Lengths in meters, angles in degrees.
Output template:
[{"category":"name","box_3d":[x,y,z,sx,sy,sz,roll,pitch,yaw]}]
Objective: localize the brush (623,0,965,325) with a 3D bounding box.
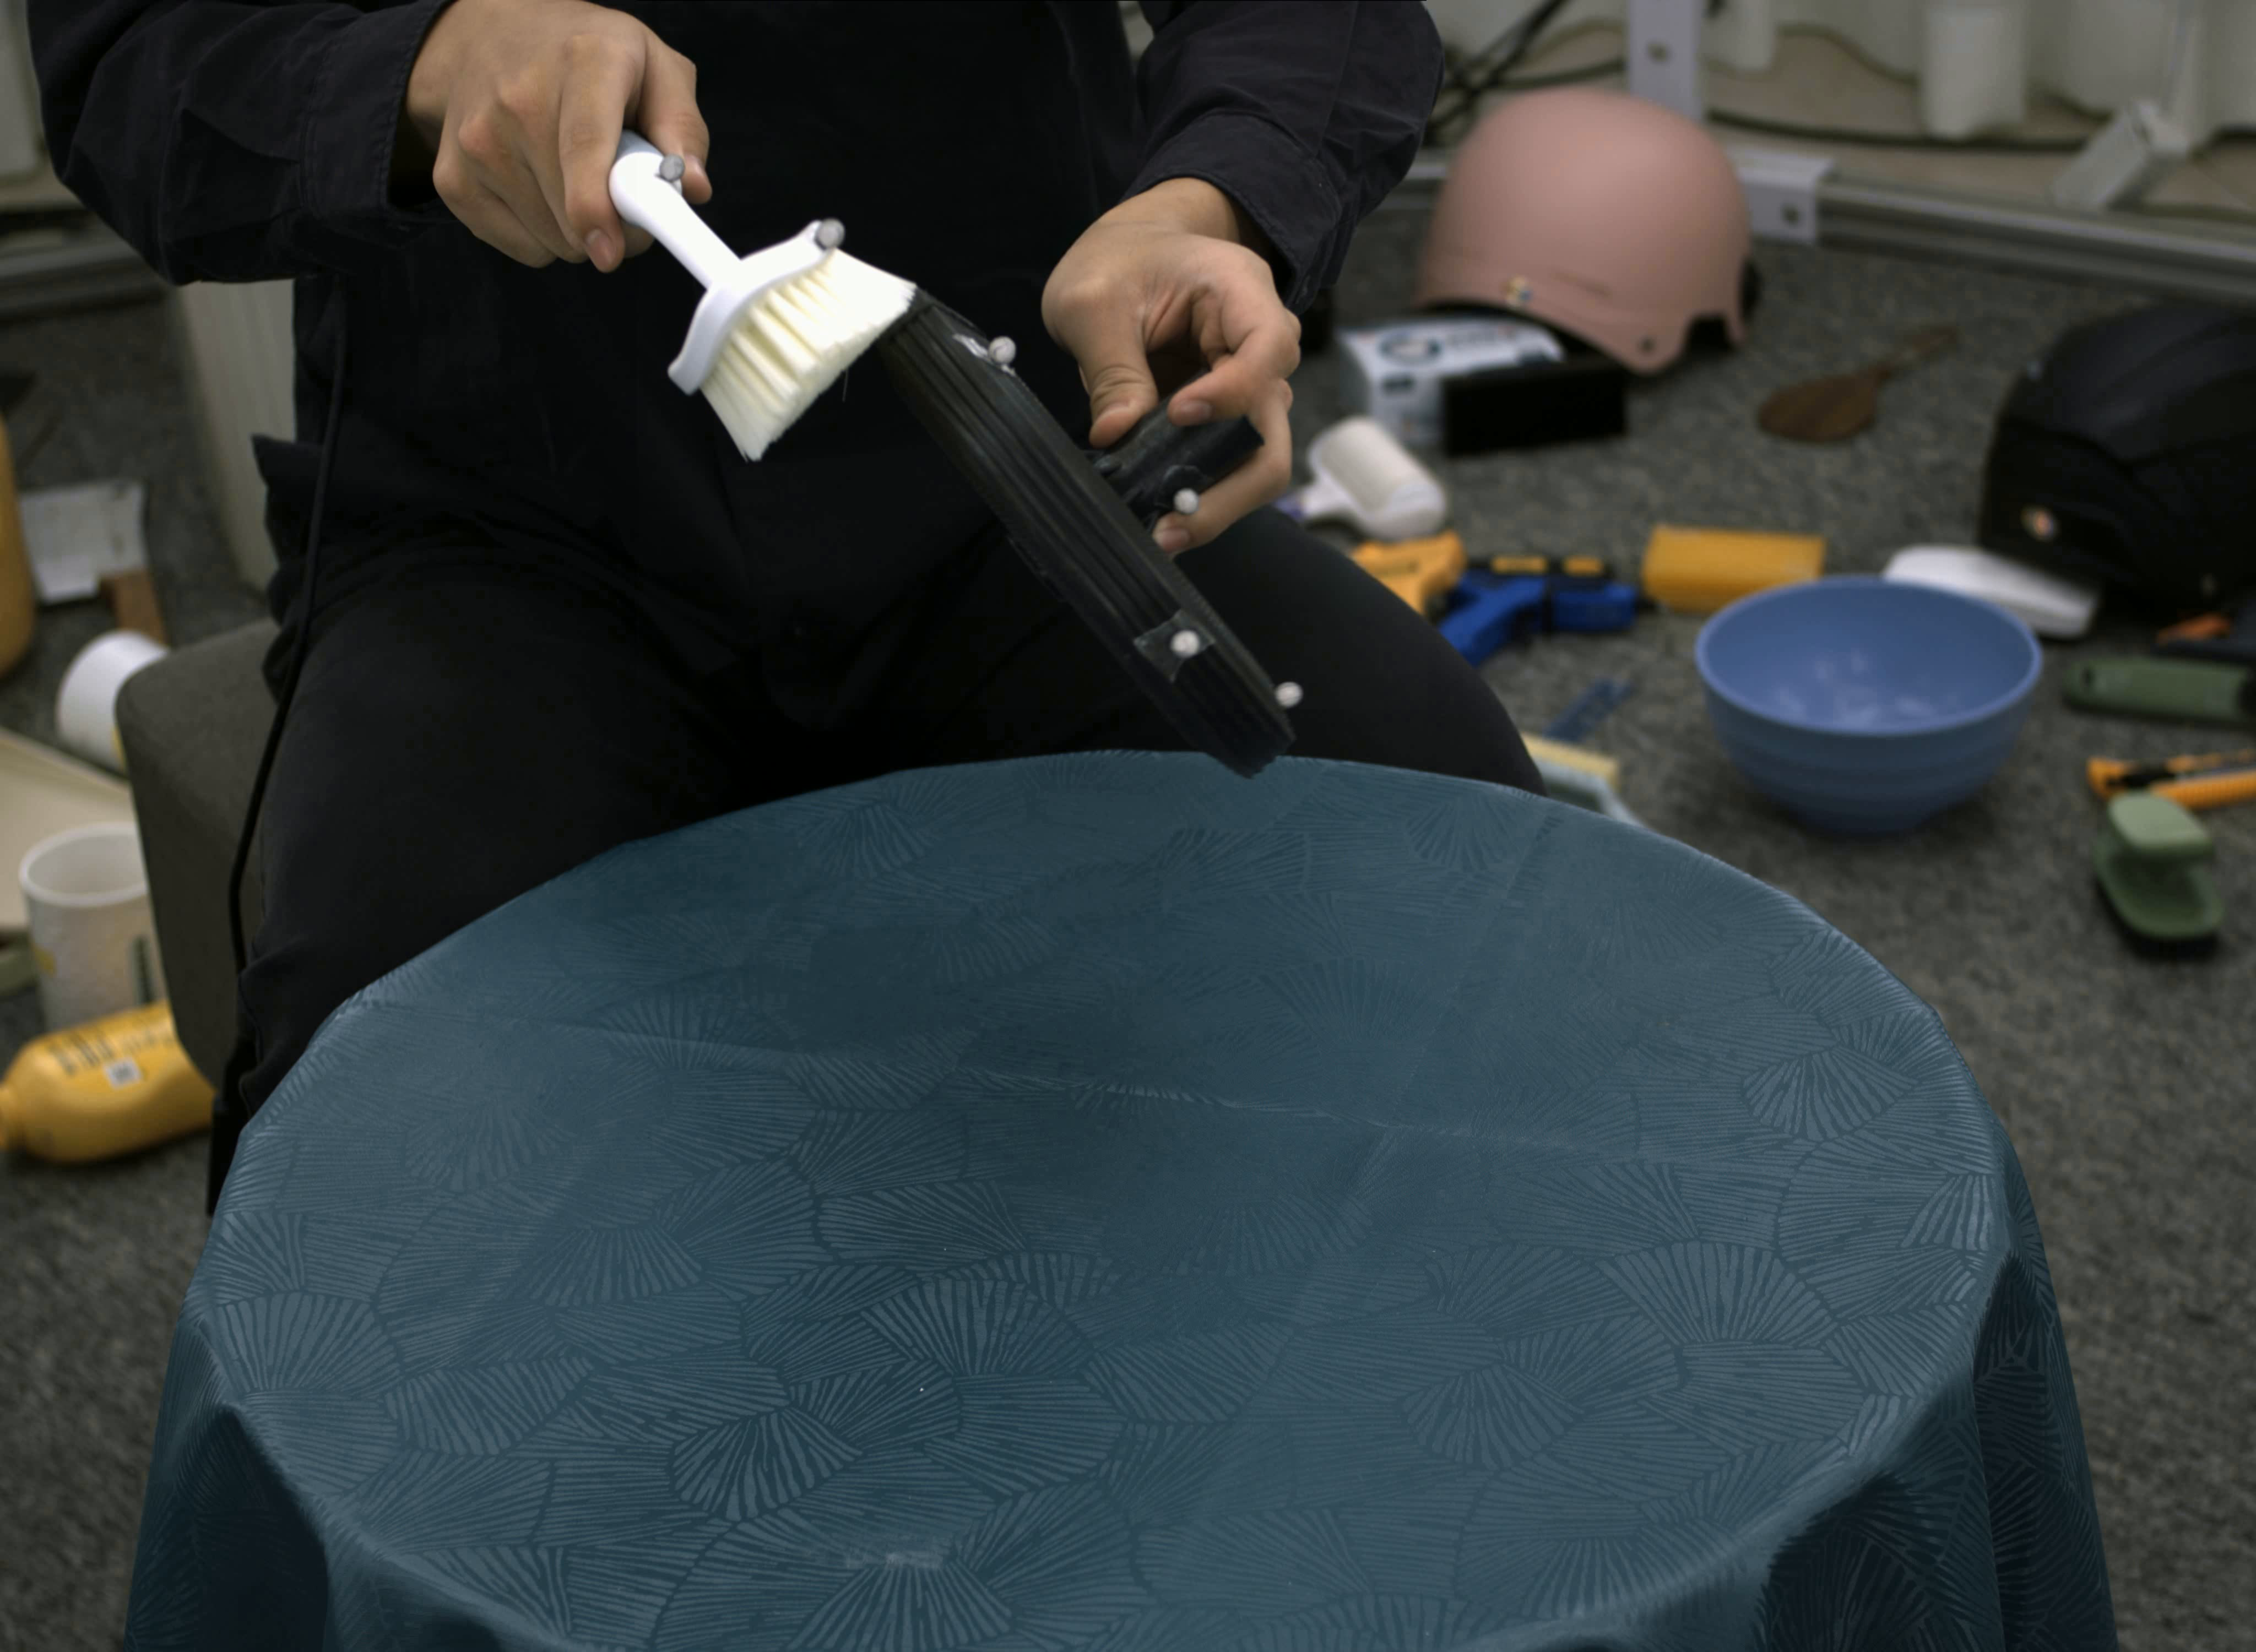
[{"category":"brush","box_3d":[-0.102,-0.217,1.824,0.083,0.084,0.327,-12,17,-9]}]

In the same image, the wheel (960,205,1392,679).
[{"category":"wheel","box_3d":[0.031,-0.136,1.794,0.079,0.186,0.191,-42,60,1]}]
